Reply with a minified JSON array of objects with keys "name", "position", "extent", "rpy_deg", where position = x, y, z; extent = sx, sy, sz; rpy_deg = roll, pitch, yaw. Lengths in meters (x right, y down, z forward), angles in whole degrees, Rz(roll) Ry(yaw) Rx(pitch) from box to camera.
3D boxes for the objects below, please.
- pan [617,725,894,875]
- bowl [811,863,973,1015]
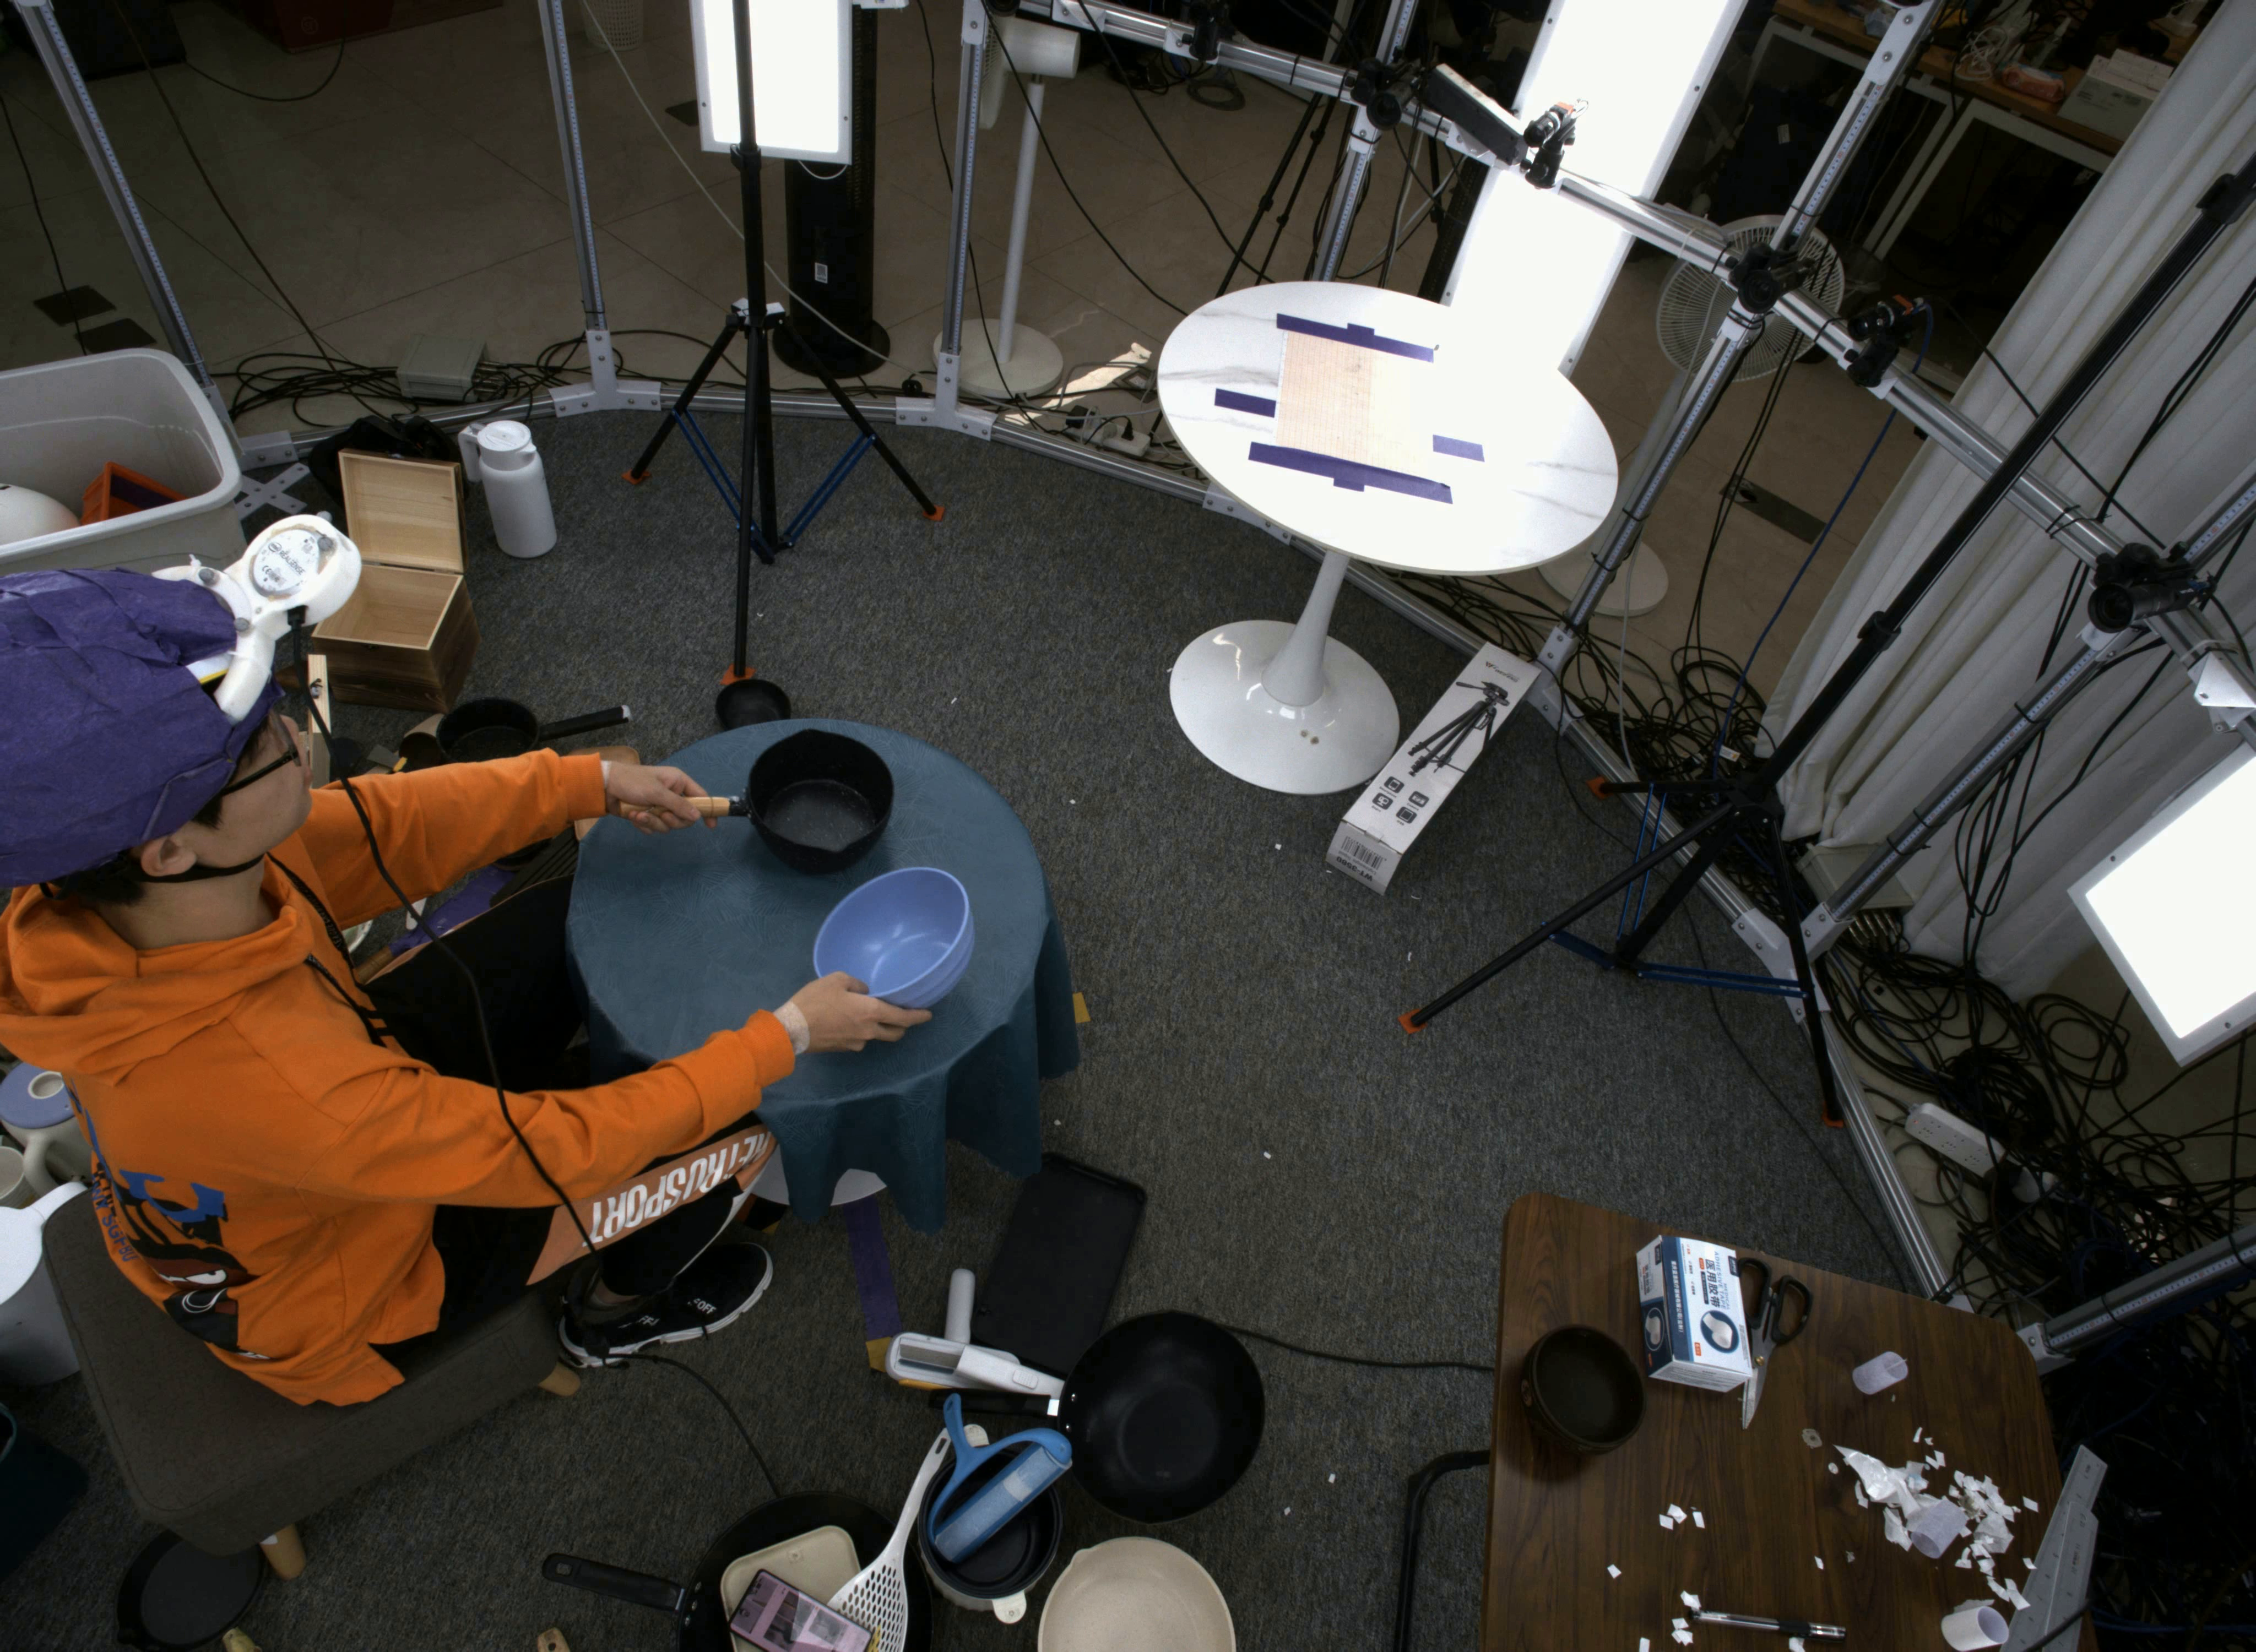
[{"name":"pan","position":[-0.467,-0.019,1.634],"extent":[0.345,0.110,0.203],"rpy_deg":[-9,58,-25]},{"name":"bowl","position":[-0.265,0.147,1.537],"extent":[0.193,0.099,0.192],"rpy_deg":[-8,46,10]}]
